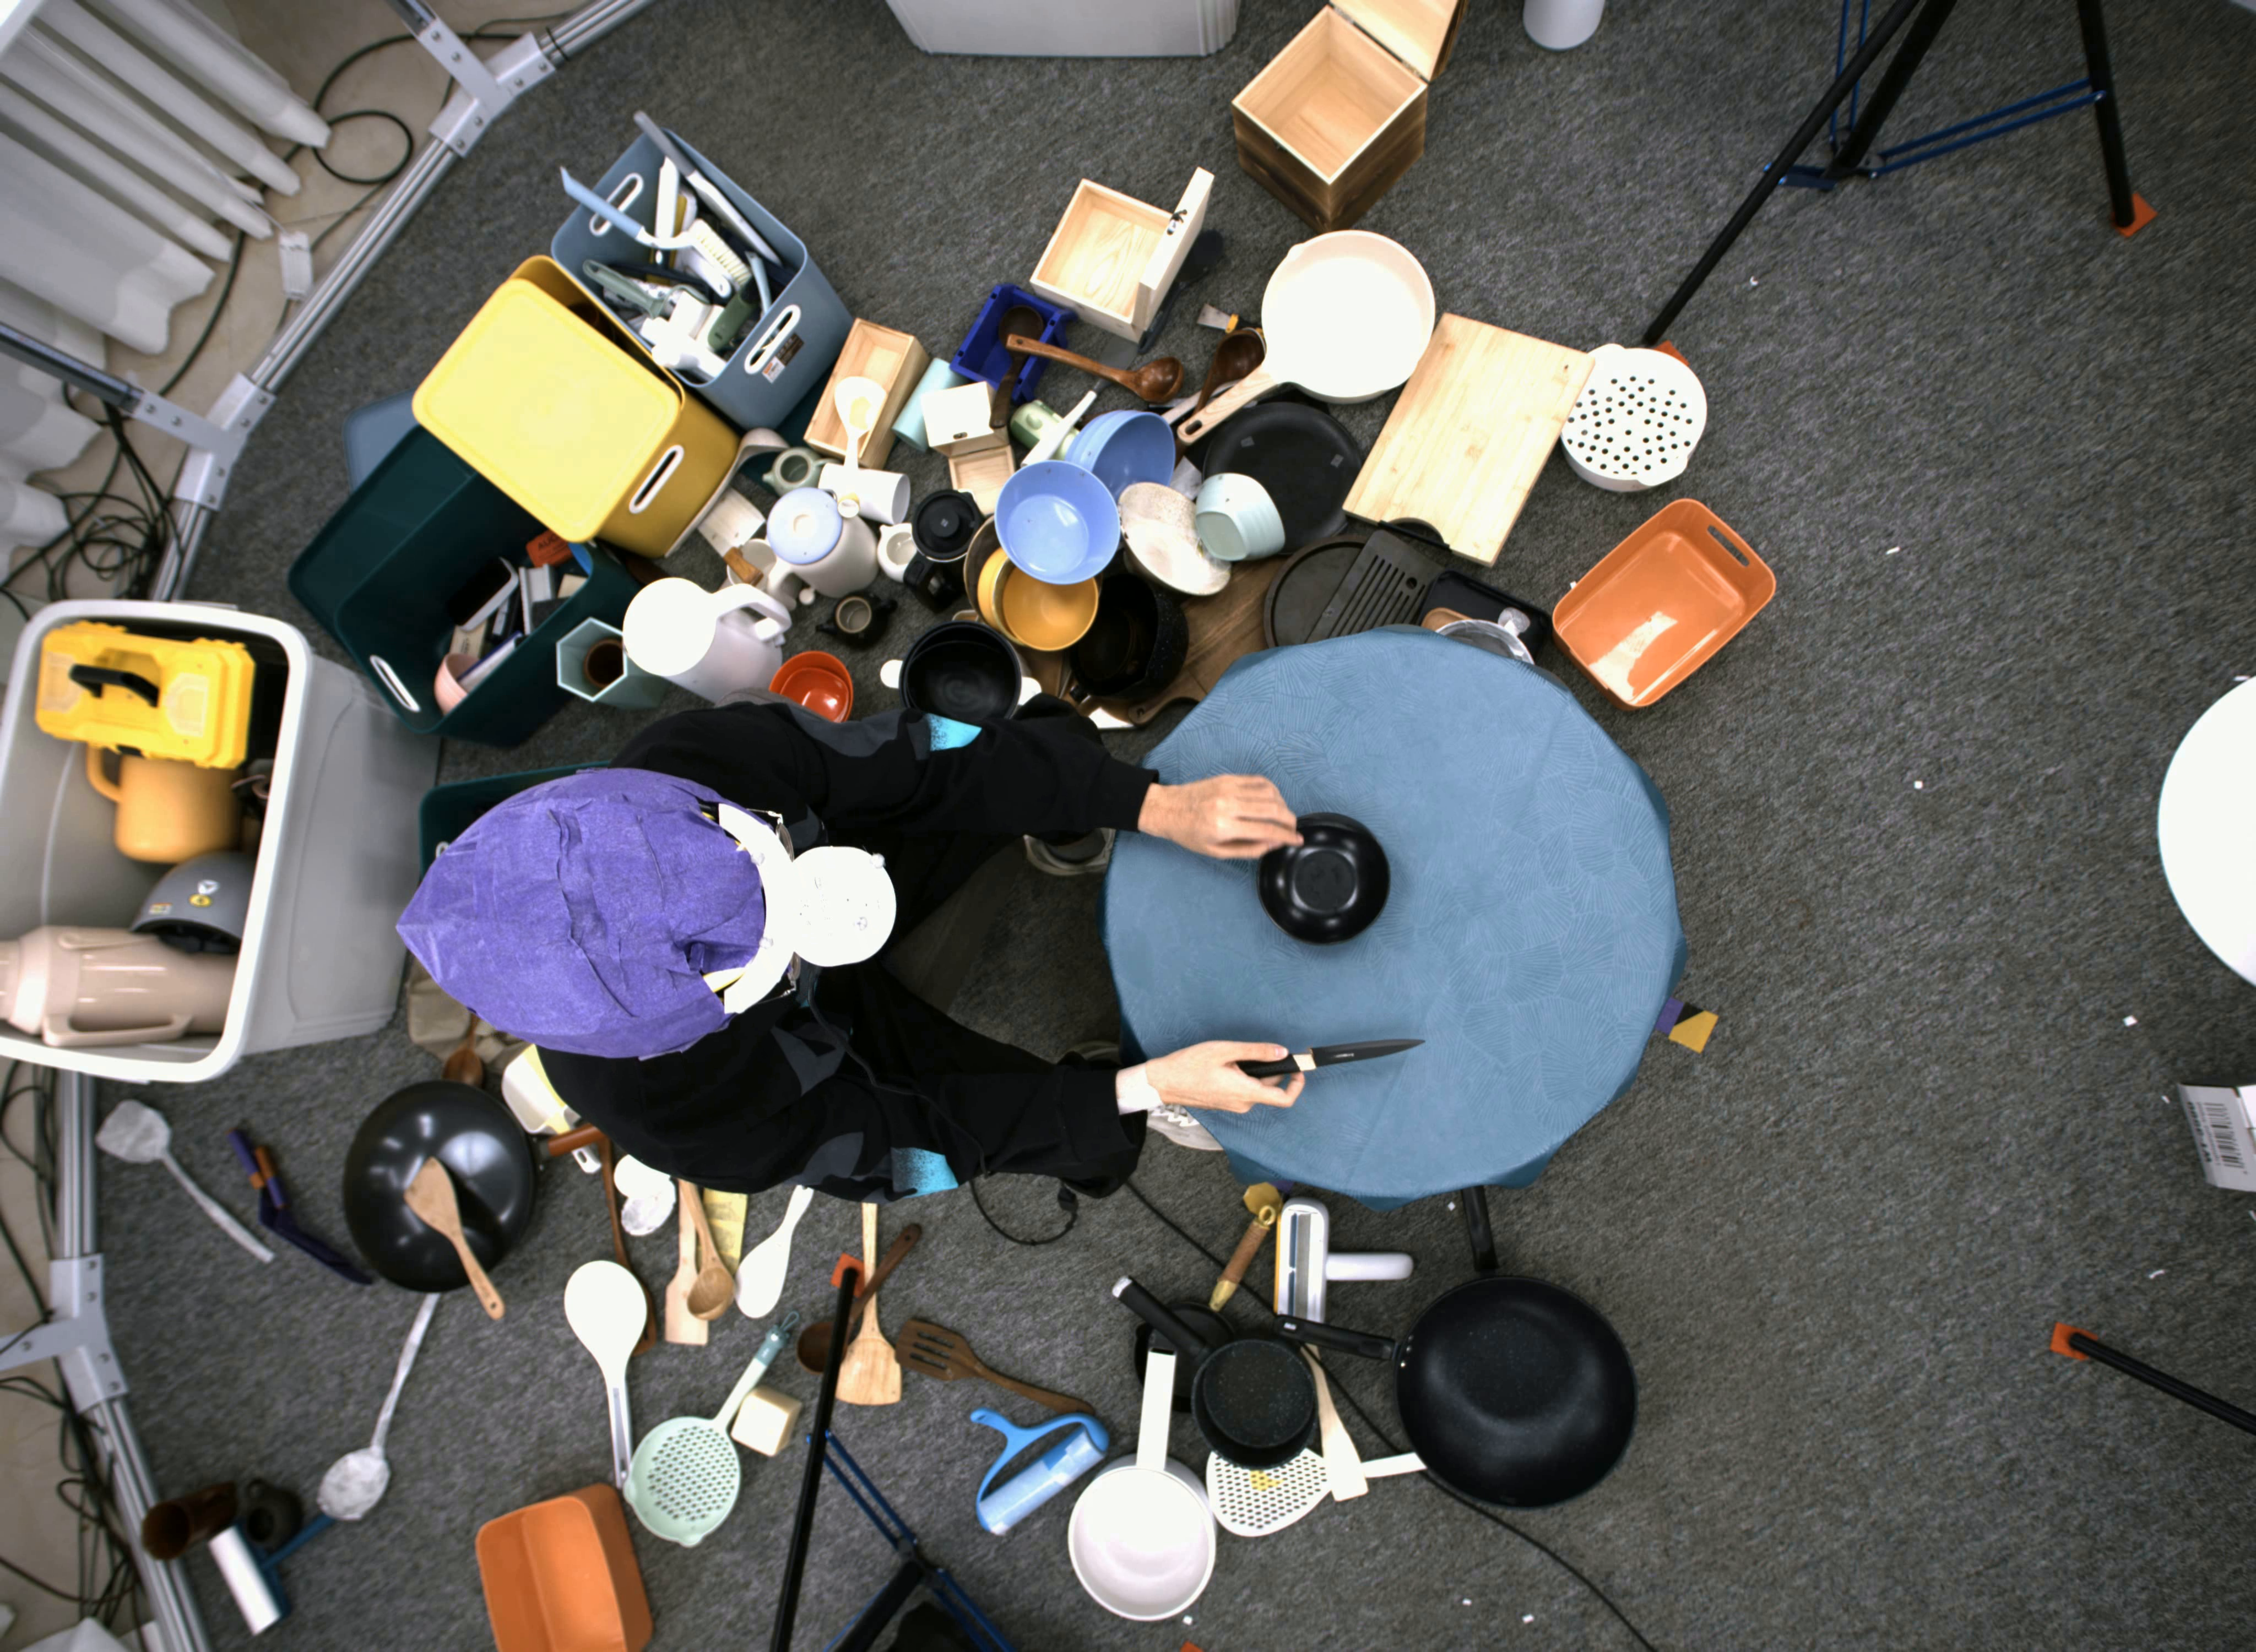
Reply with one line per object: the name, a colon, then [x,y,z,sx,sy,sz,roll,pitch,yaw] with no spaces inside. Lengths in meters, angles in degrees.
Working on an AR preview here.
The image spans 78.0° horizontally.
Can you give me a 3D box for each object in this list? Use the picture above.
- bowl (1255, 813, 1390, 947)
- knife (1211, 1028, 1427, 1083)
bowl: [0.205,0.056,1.450,0.140,0.049,0.139,-1,89,14]
knife: [0.194,0.233,1.413,0.227,0.017,0.025,-13,54,13]
